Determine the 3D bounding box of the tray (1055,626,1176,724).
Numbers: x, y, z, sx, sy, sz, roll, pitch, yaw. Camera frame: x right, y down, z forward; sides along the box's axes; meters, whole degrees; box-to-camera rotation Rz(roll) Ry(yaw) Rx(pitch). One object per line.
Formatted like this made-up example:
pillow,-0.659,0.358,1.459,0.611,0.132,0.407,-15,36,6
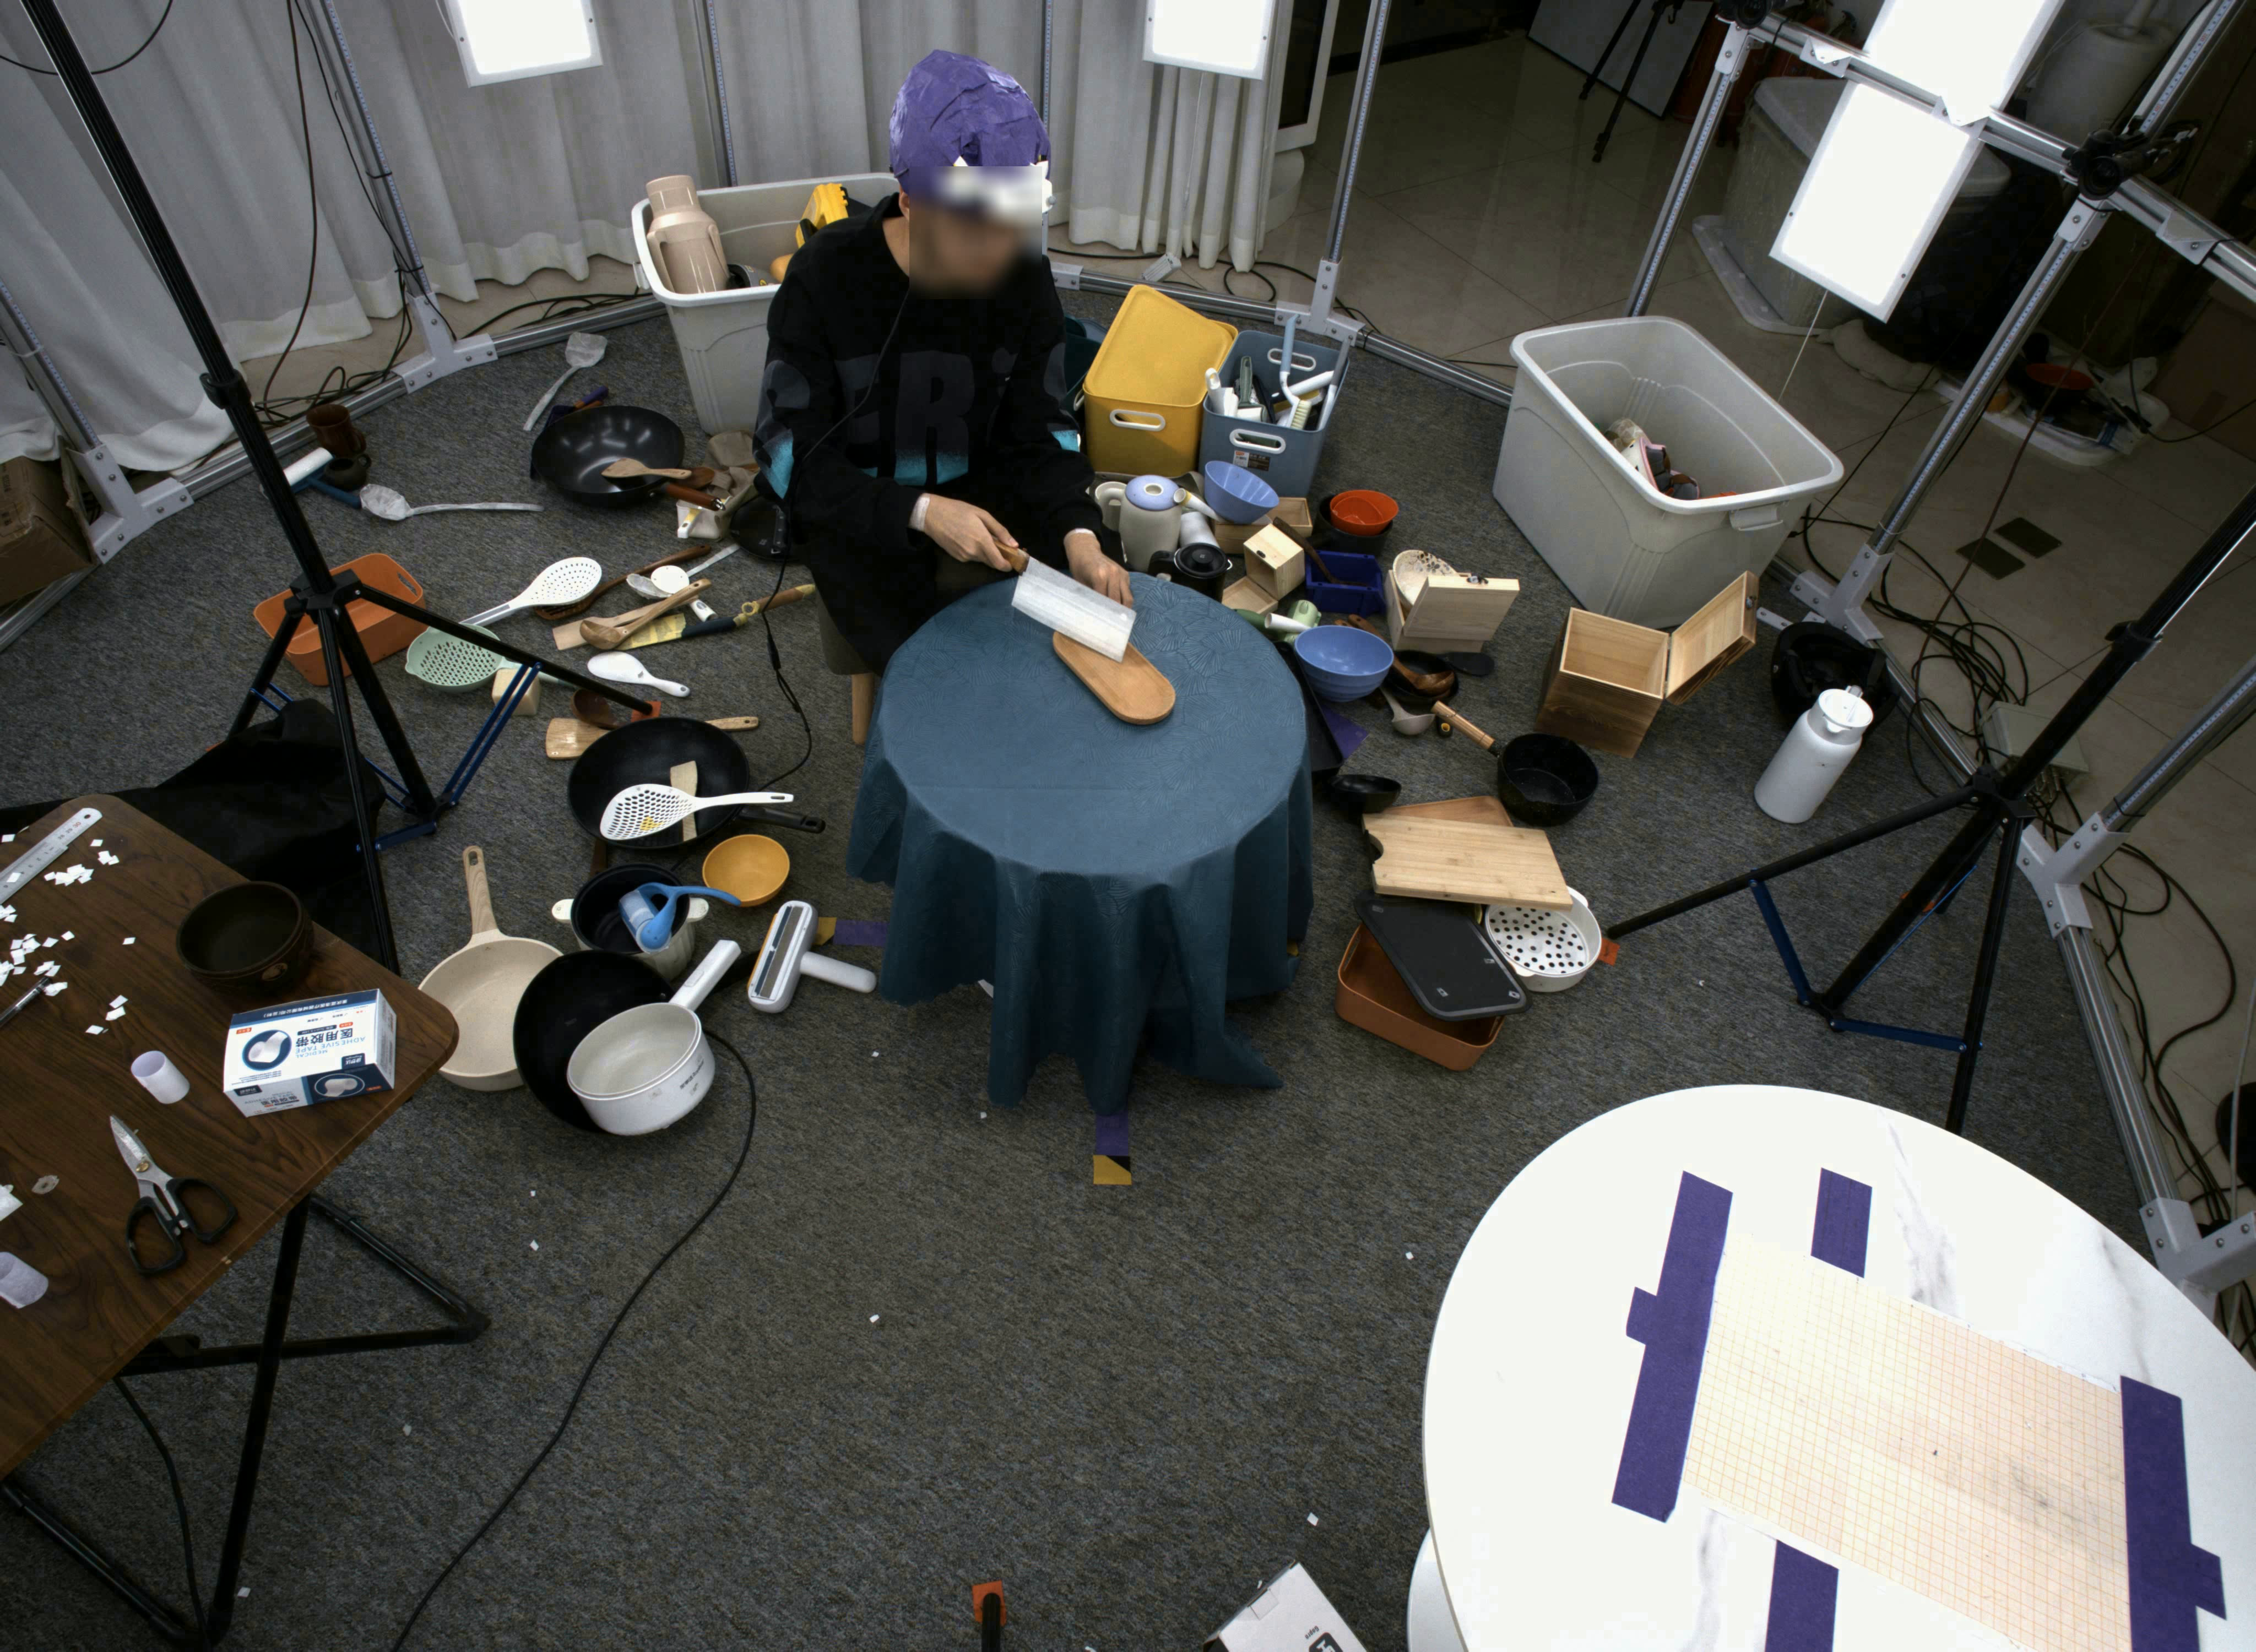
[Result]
tray,-0.019,-0.227,1.853,0.102,0.020,0.236,-25,54,-25

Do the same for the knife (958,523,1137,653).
knife,-0.123,-0.342,1.870,0.308,0.091,0.021,30,40,14
